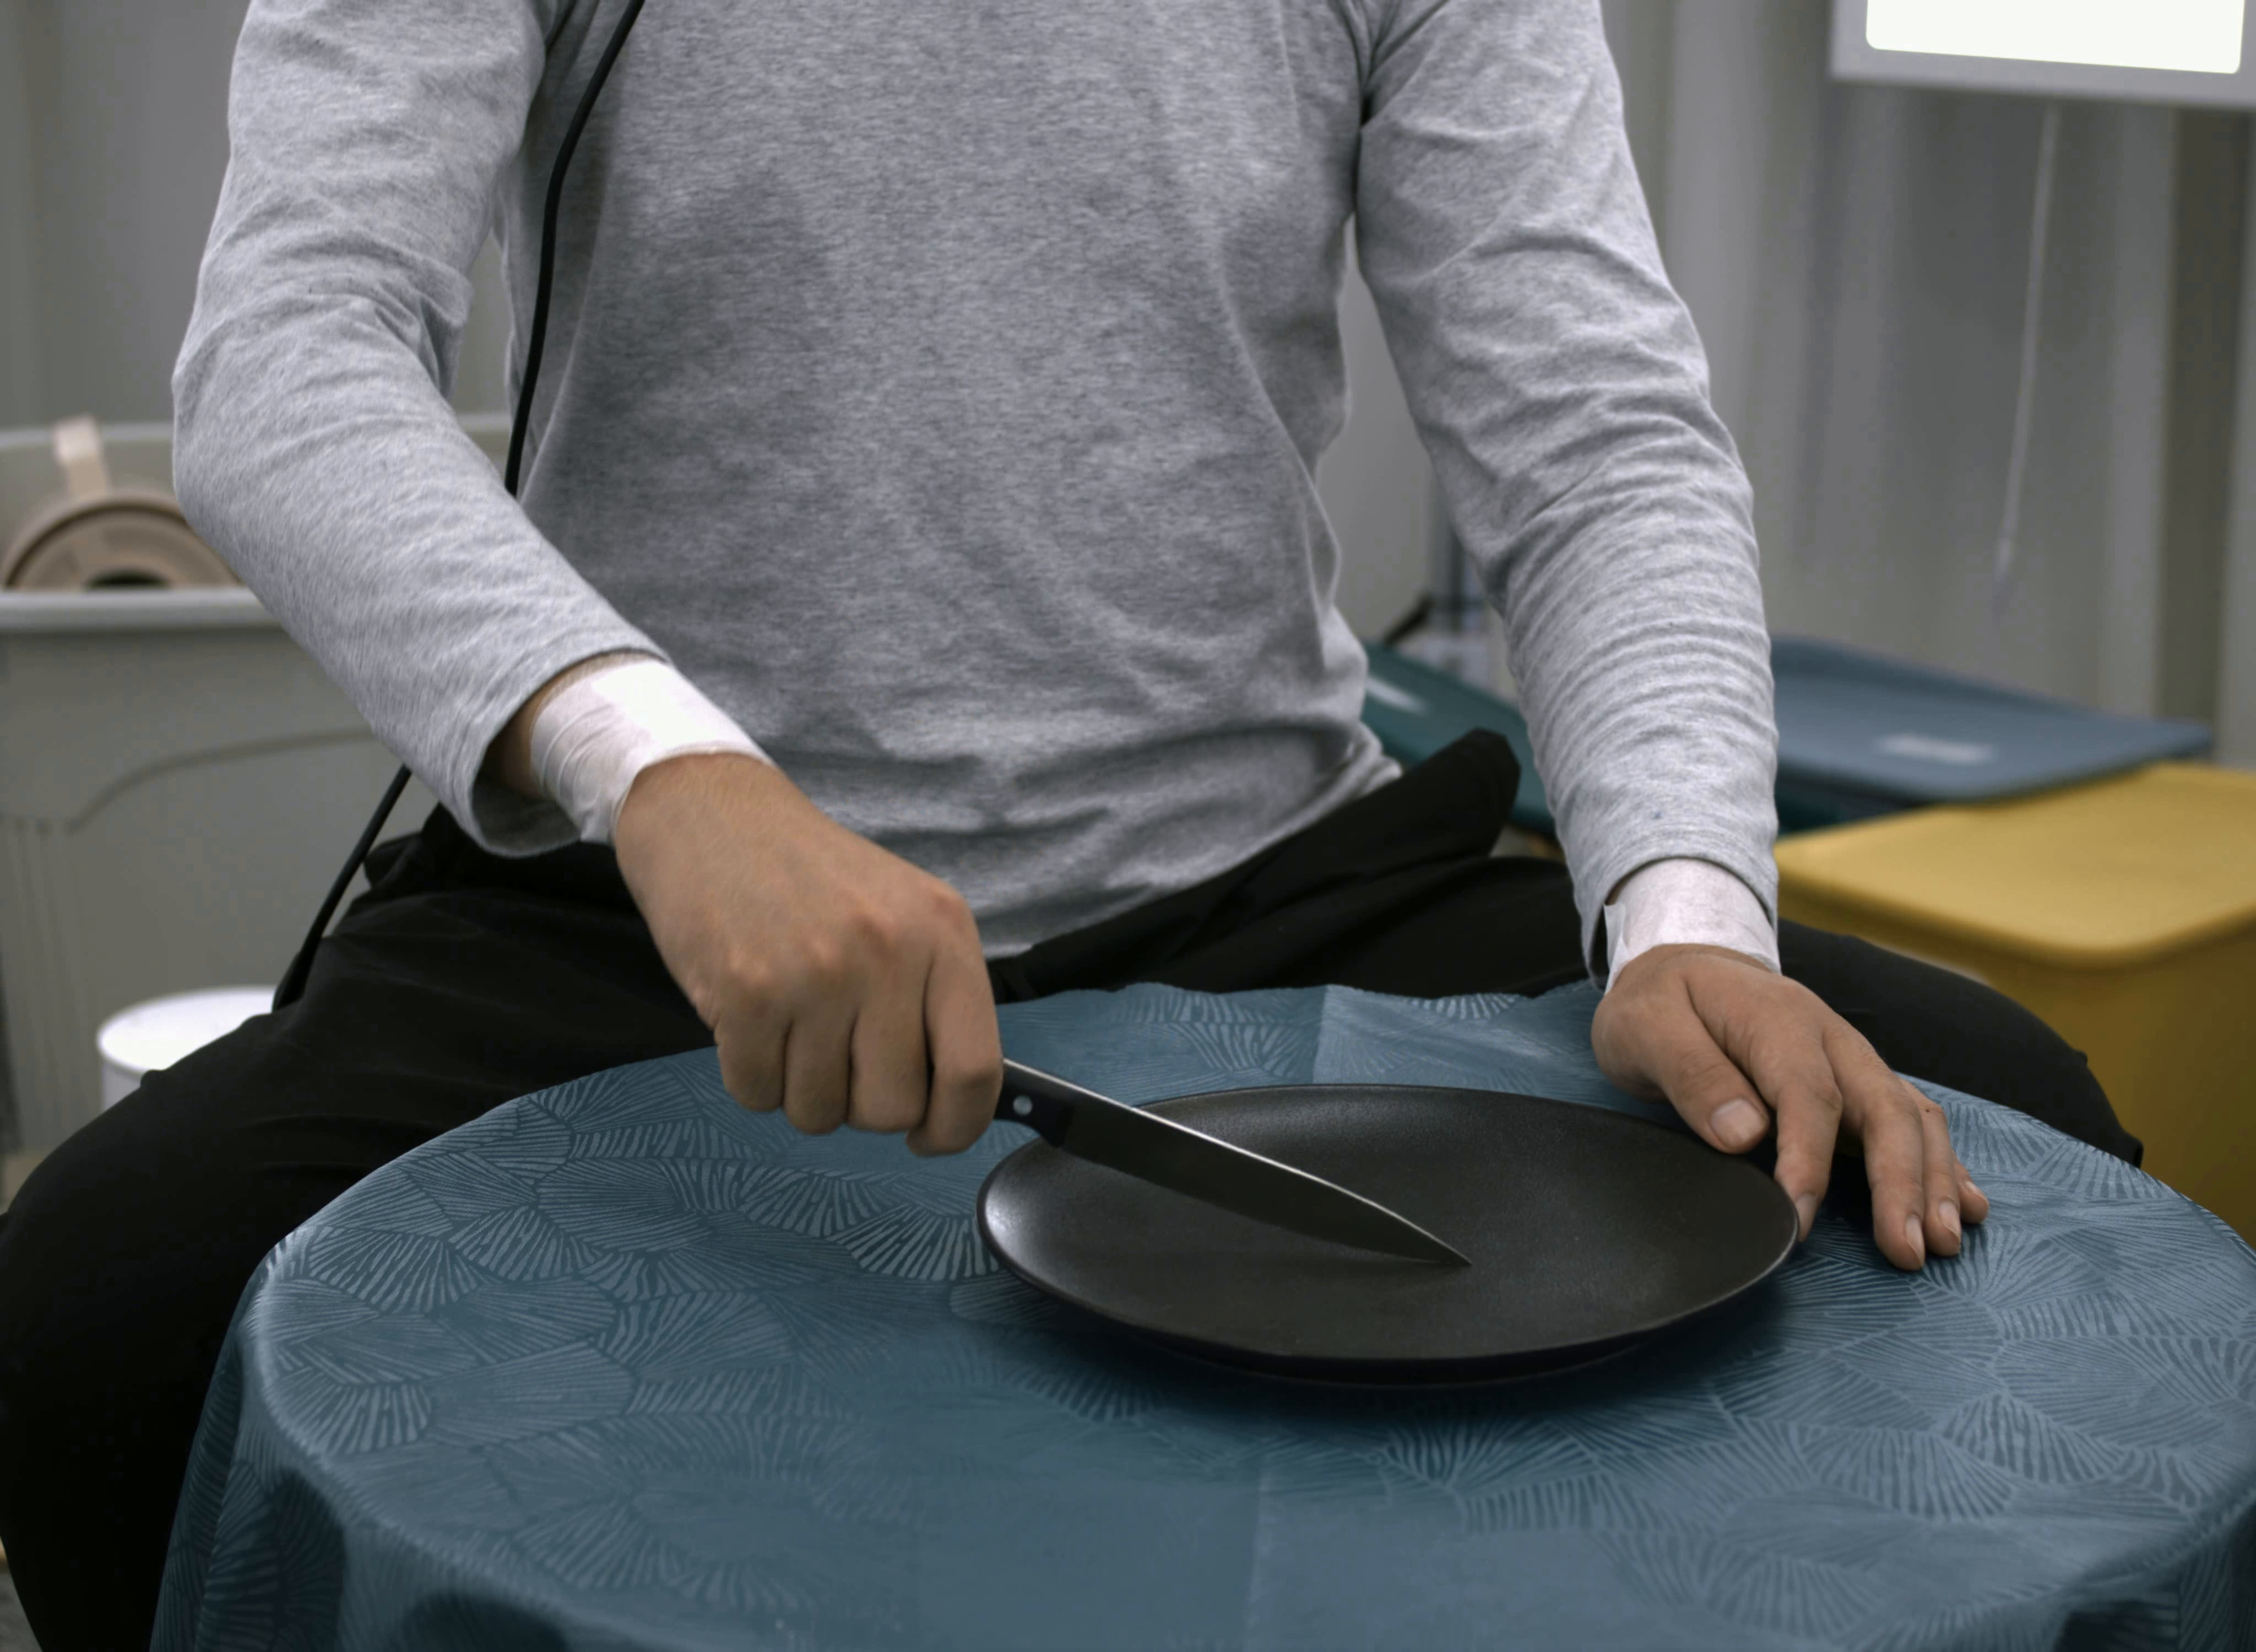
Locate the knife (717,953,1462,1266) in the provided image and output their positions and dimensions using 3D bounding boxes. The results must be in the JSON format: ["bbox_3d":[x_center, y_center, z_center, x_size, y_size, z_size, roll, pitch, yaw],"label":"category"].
[{"bbox_3d":[-0.009,0.086,1.547,0.237,0.024,0.016,22,27,4],"label":"knife"}]

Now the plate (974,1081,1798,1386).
[{"bbox_3d":[0.075,0.122,1.550,0.243,0.023,0.243,1,15,0],"label":"plate"}]
